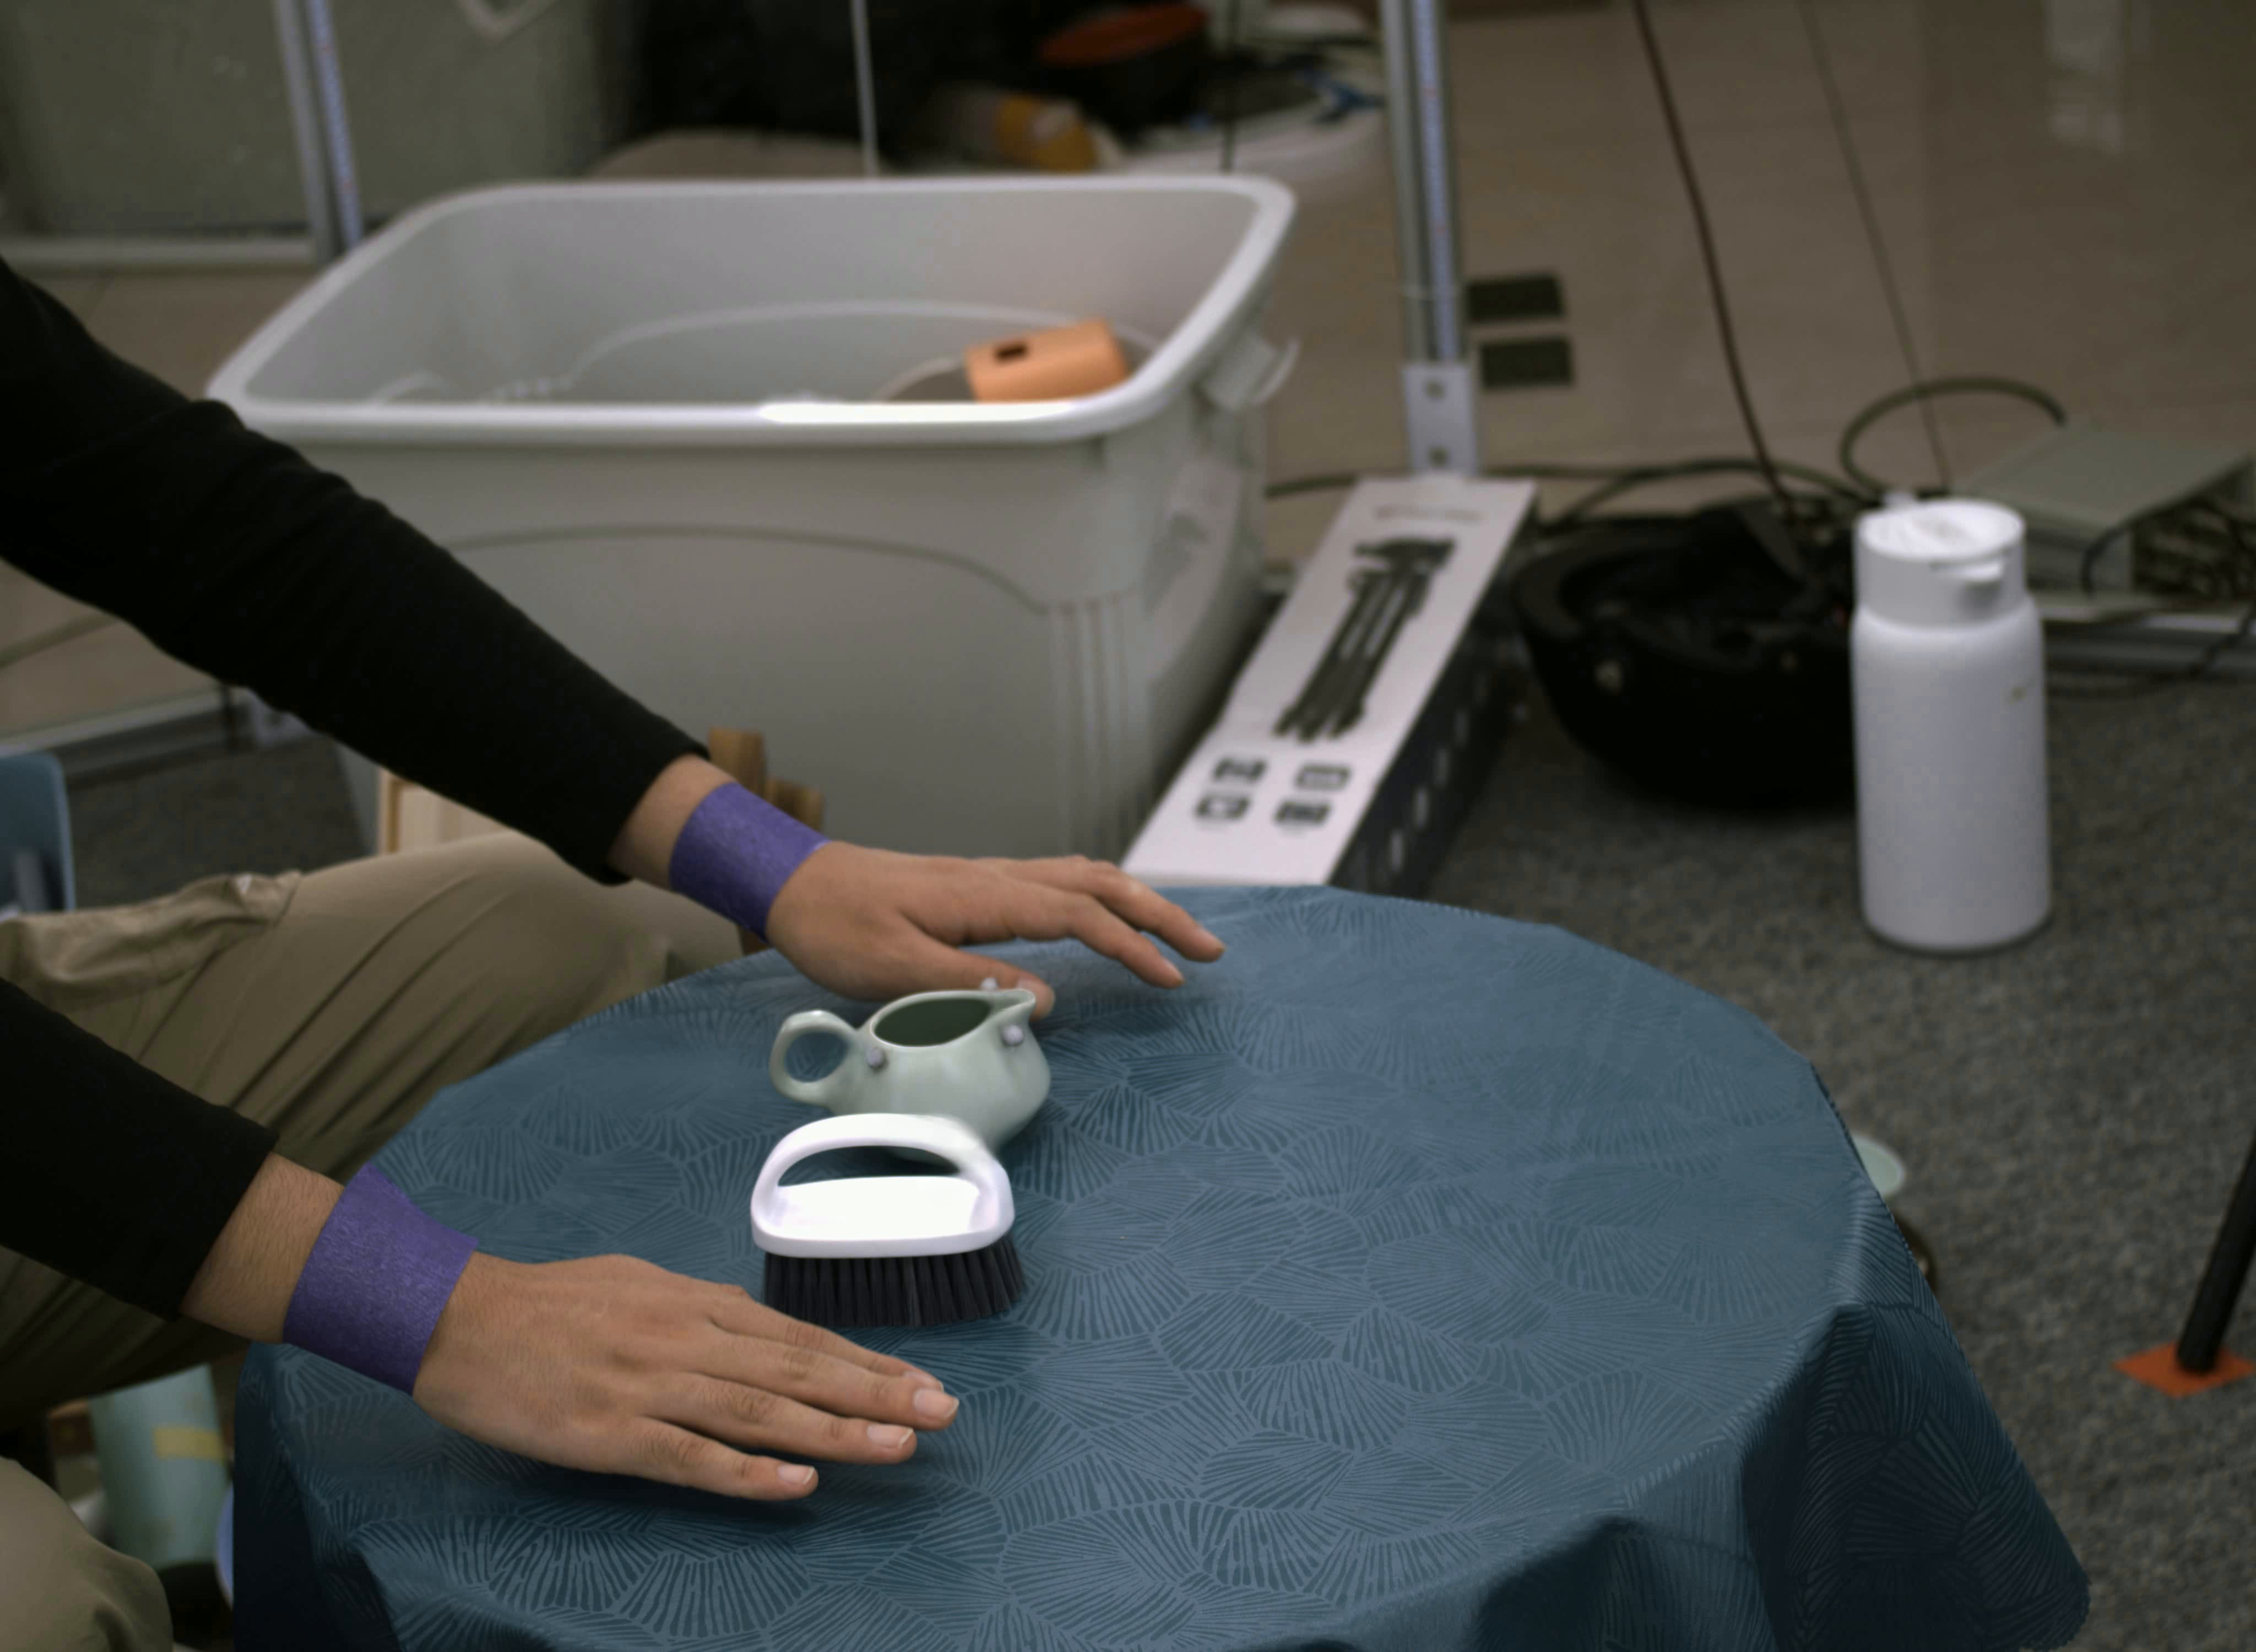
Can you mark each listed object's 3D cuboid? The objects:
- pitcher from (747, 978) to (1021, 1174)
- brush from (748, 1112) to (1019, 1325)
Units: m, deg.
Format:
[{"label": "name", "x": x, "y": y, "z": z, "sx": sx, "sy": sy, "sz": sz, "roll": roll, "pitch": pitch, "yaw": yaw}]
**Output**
[{"label": "pitcher", "x": -0.096, "y": 0.093, "z": 2.191, "sx": 0.108, "sy": 0.061, "sz": 0.084, "roll": 14, "pitch": 39, "yaw": 3}, {"label": "brush", "x": -0.091, "y": 0.139, "z": 2.078, "sx": 0.099, "sy": 0.073, "sz": 0.049, "roll": 0, "pitch": 25, "yaw": 11}]
